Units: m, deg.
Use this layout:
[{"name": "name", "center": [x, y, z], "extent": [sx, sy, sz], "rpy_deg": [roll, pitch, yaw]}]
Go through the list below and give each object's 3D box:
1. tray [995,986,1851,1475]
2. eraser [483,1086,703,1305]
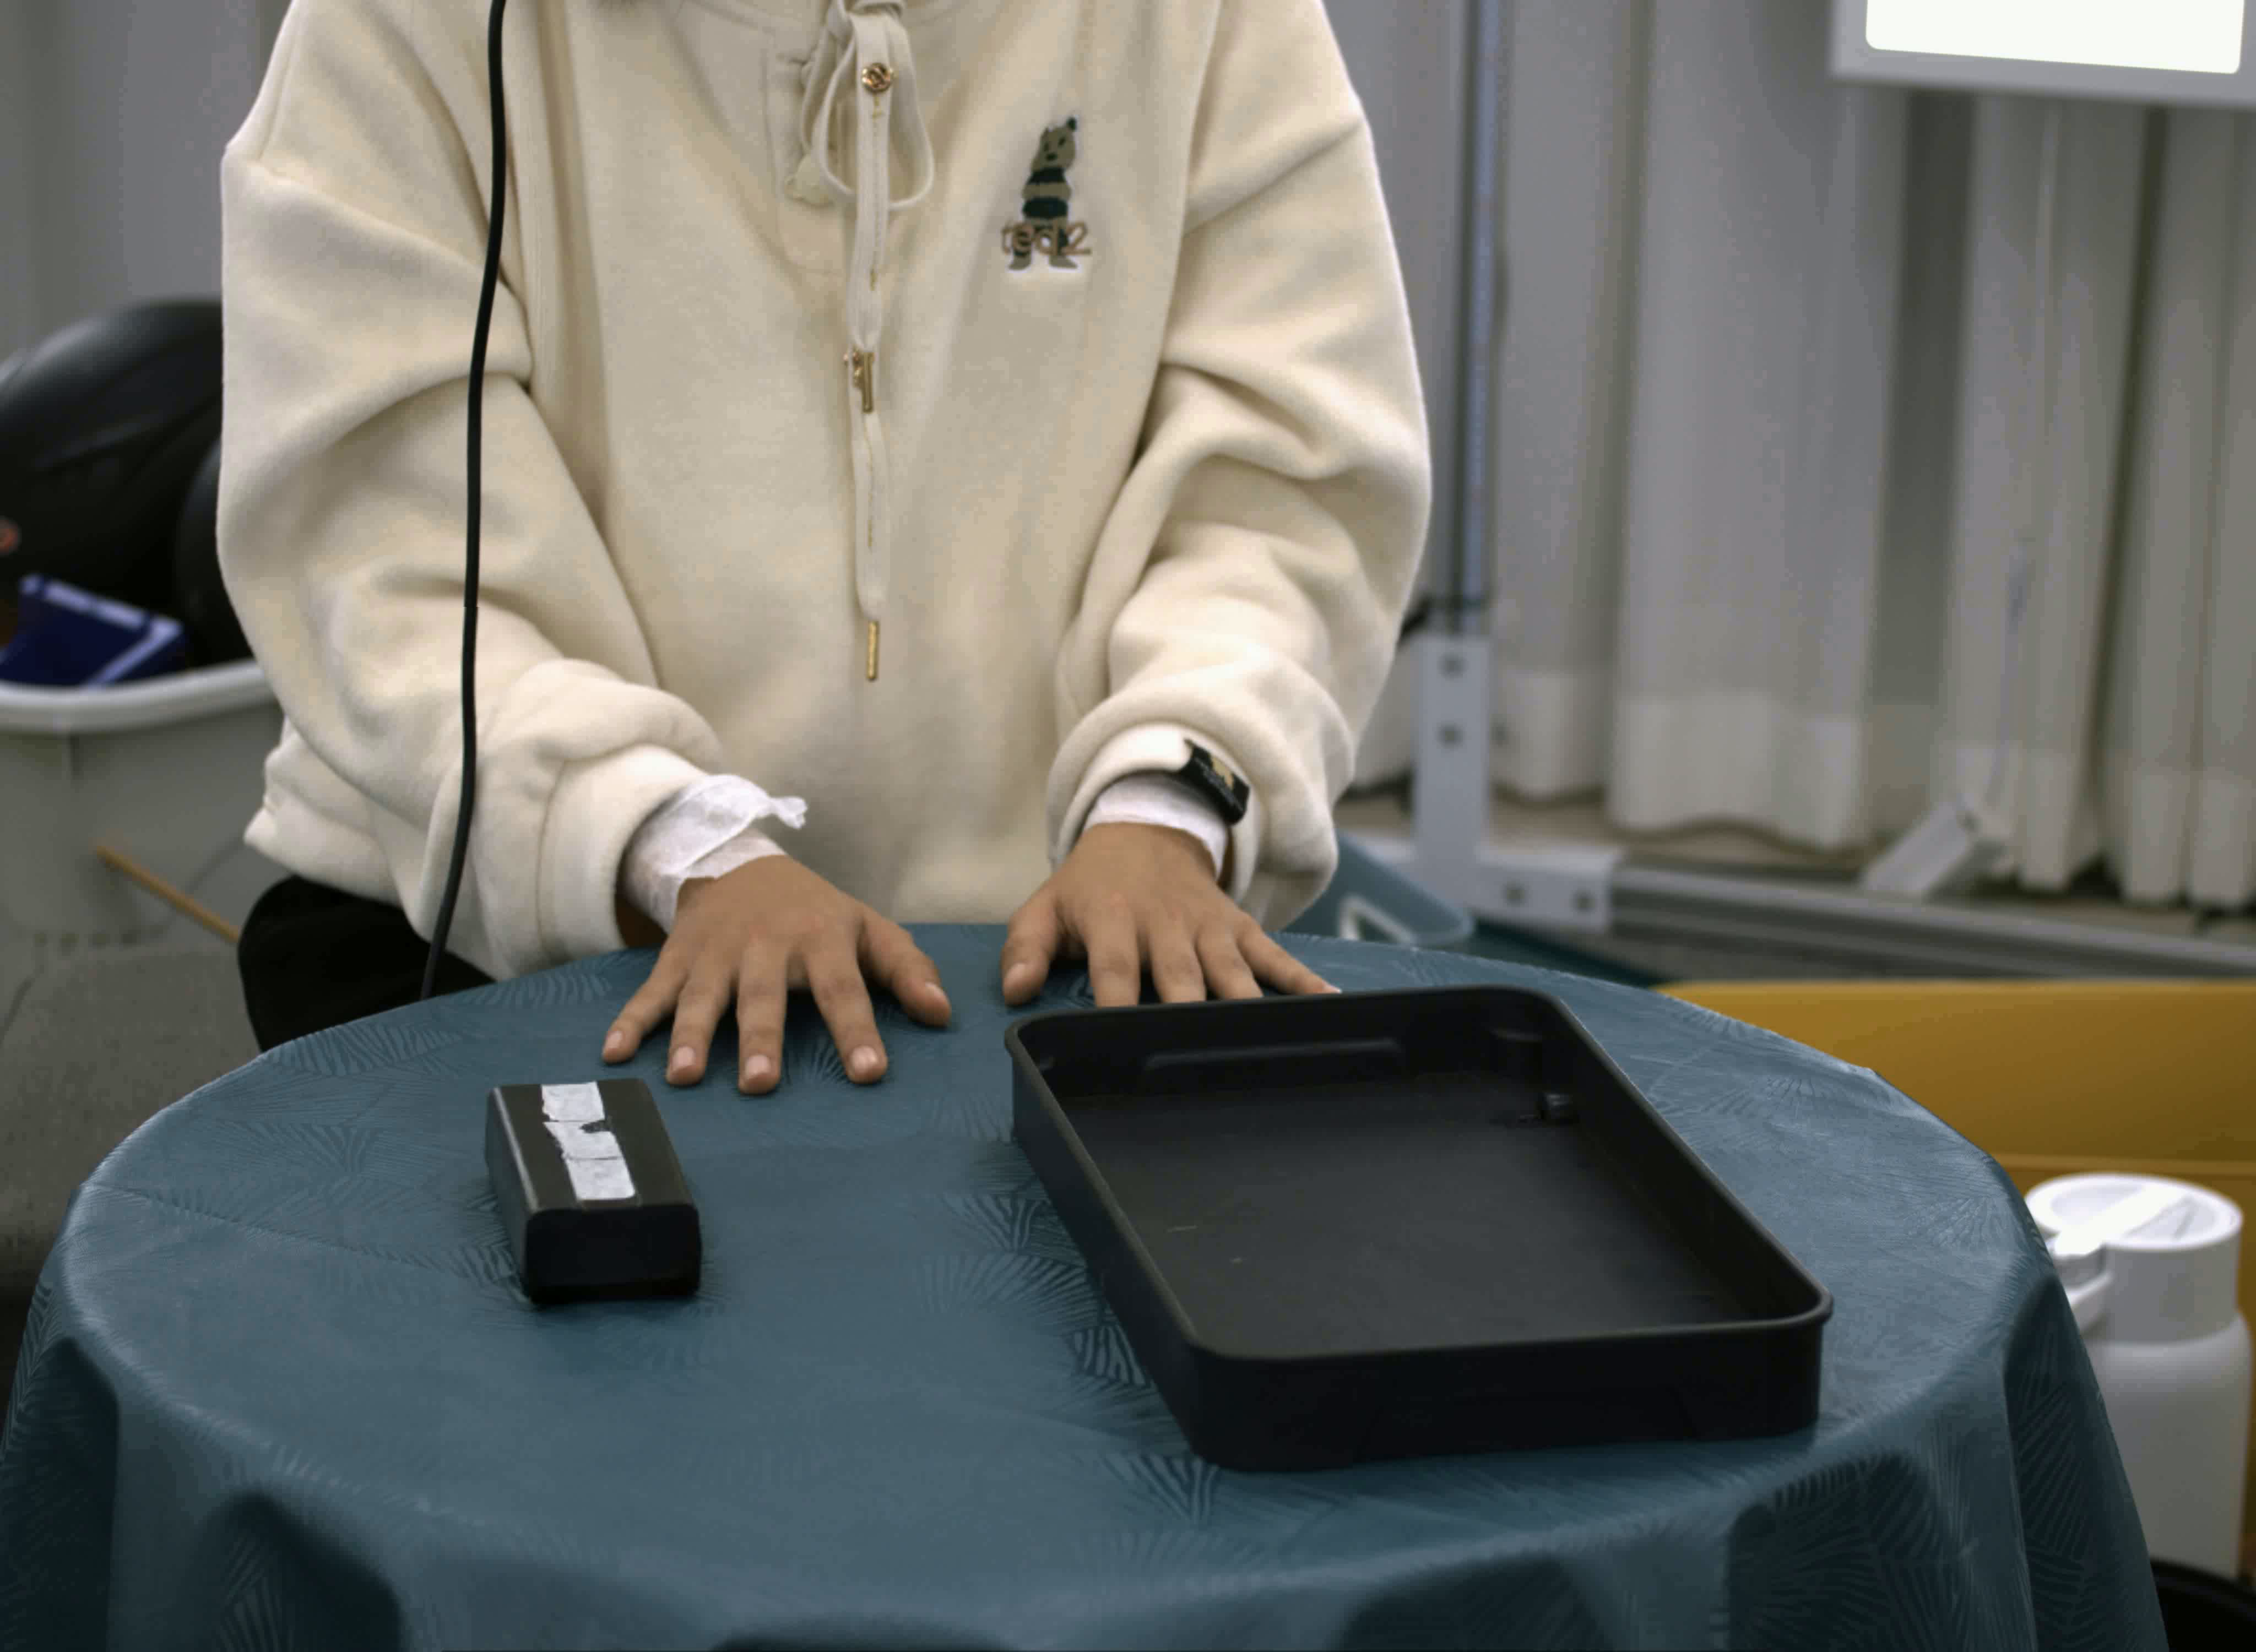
[{"name": "tray", "center": [0.077, 0.112, 1.551], "extent": [0.184, 0.037, 0.315], "rpy_deg": [-3, 15, -13]}, {"name": "eraser", "center": [-0.161, 0.110, 1.574], "extent": [0.053, 0.030, 0.124], "rpy_deg": [1, 14, -13]}]
